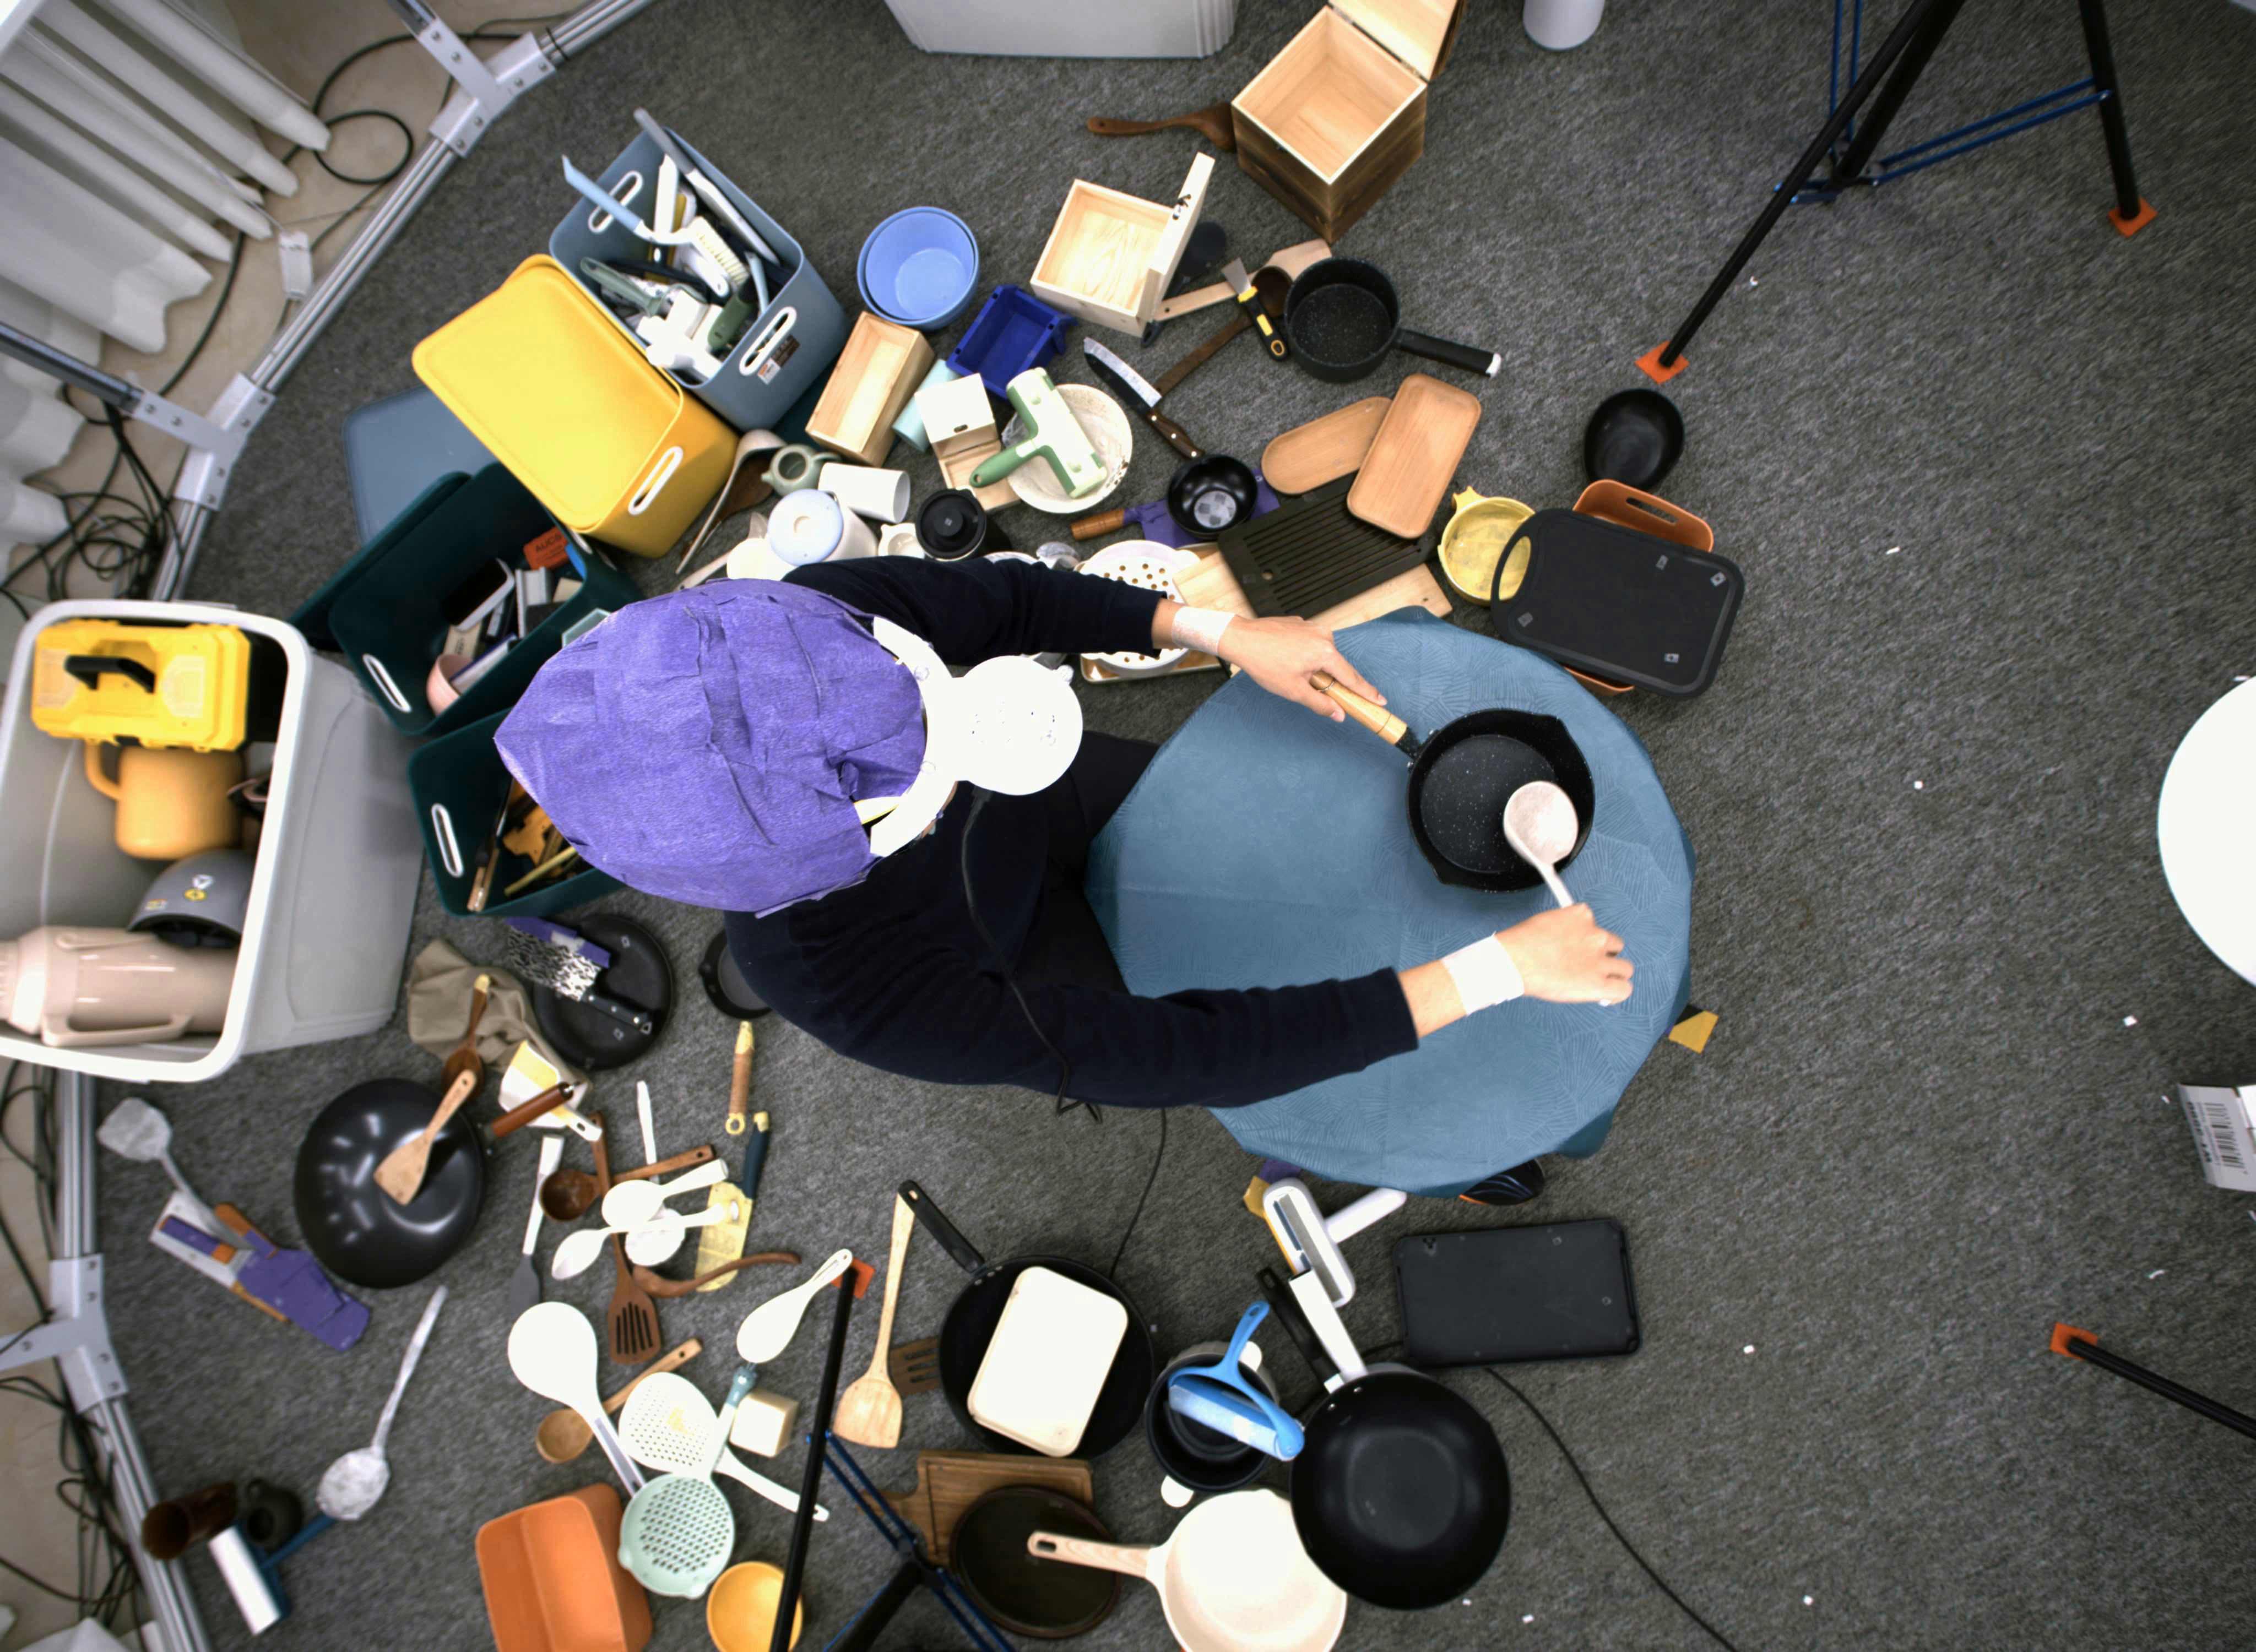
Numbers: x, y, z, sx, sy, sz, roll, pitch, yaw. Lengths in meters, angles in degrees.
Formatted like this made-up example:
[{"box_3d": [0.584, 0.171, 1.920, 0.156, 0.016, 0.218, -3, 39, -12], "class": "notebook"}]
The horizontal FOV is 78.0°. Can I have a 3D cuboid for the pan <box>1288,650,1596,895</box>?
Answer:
[{"box_3d": [0.307, -0.069, 1.395, 0.342, 0.108, 0.208, 33, 96, 5], "class": "pan"}]

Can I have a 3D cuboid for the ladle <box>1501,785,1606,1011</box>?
[{"box_3d": [0.416, 0.058, 1.280, 0.090, 0.268, 0.071, 28, 117, -21], "class": "ladle"}]
